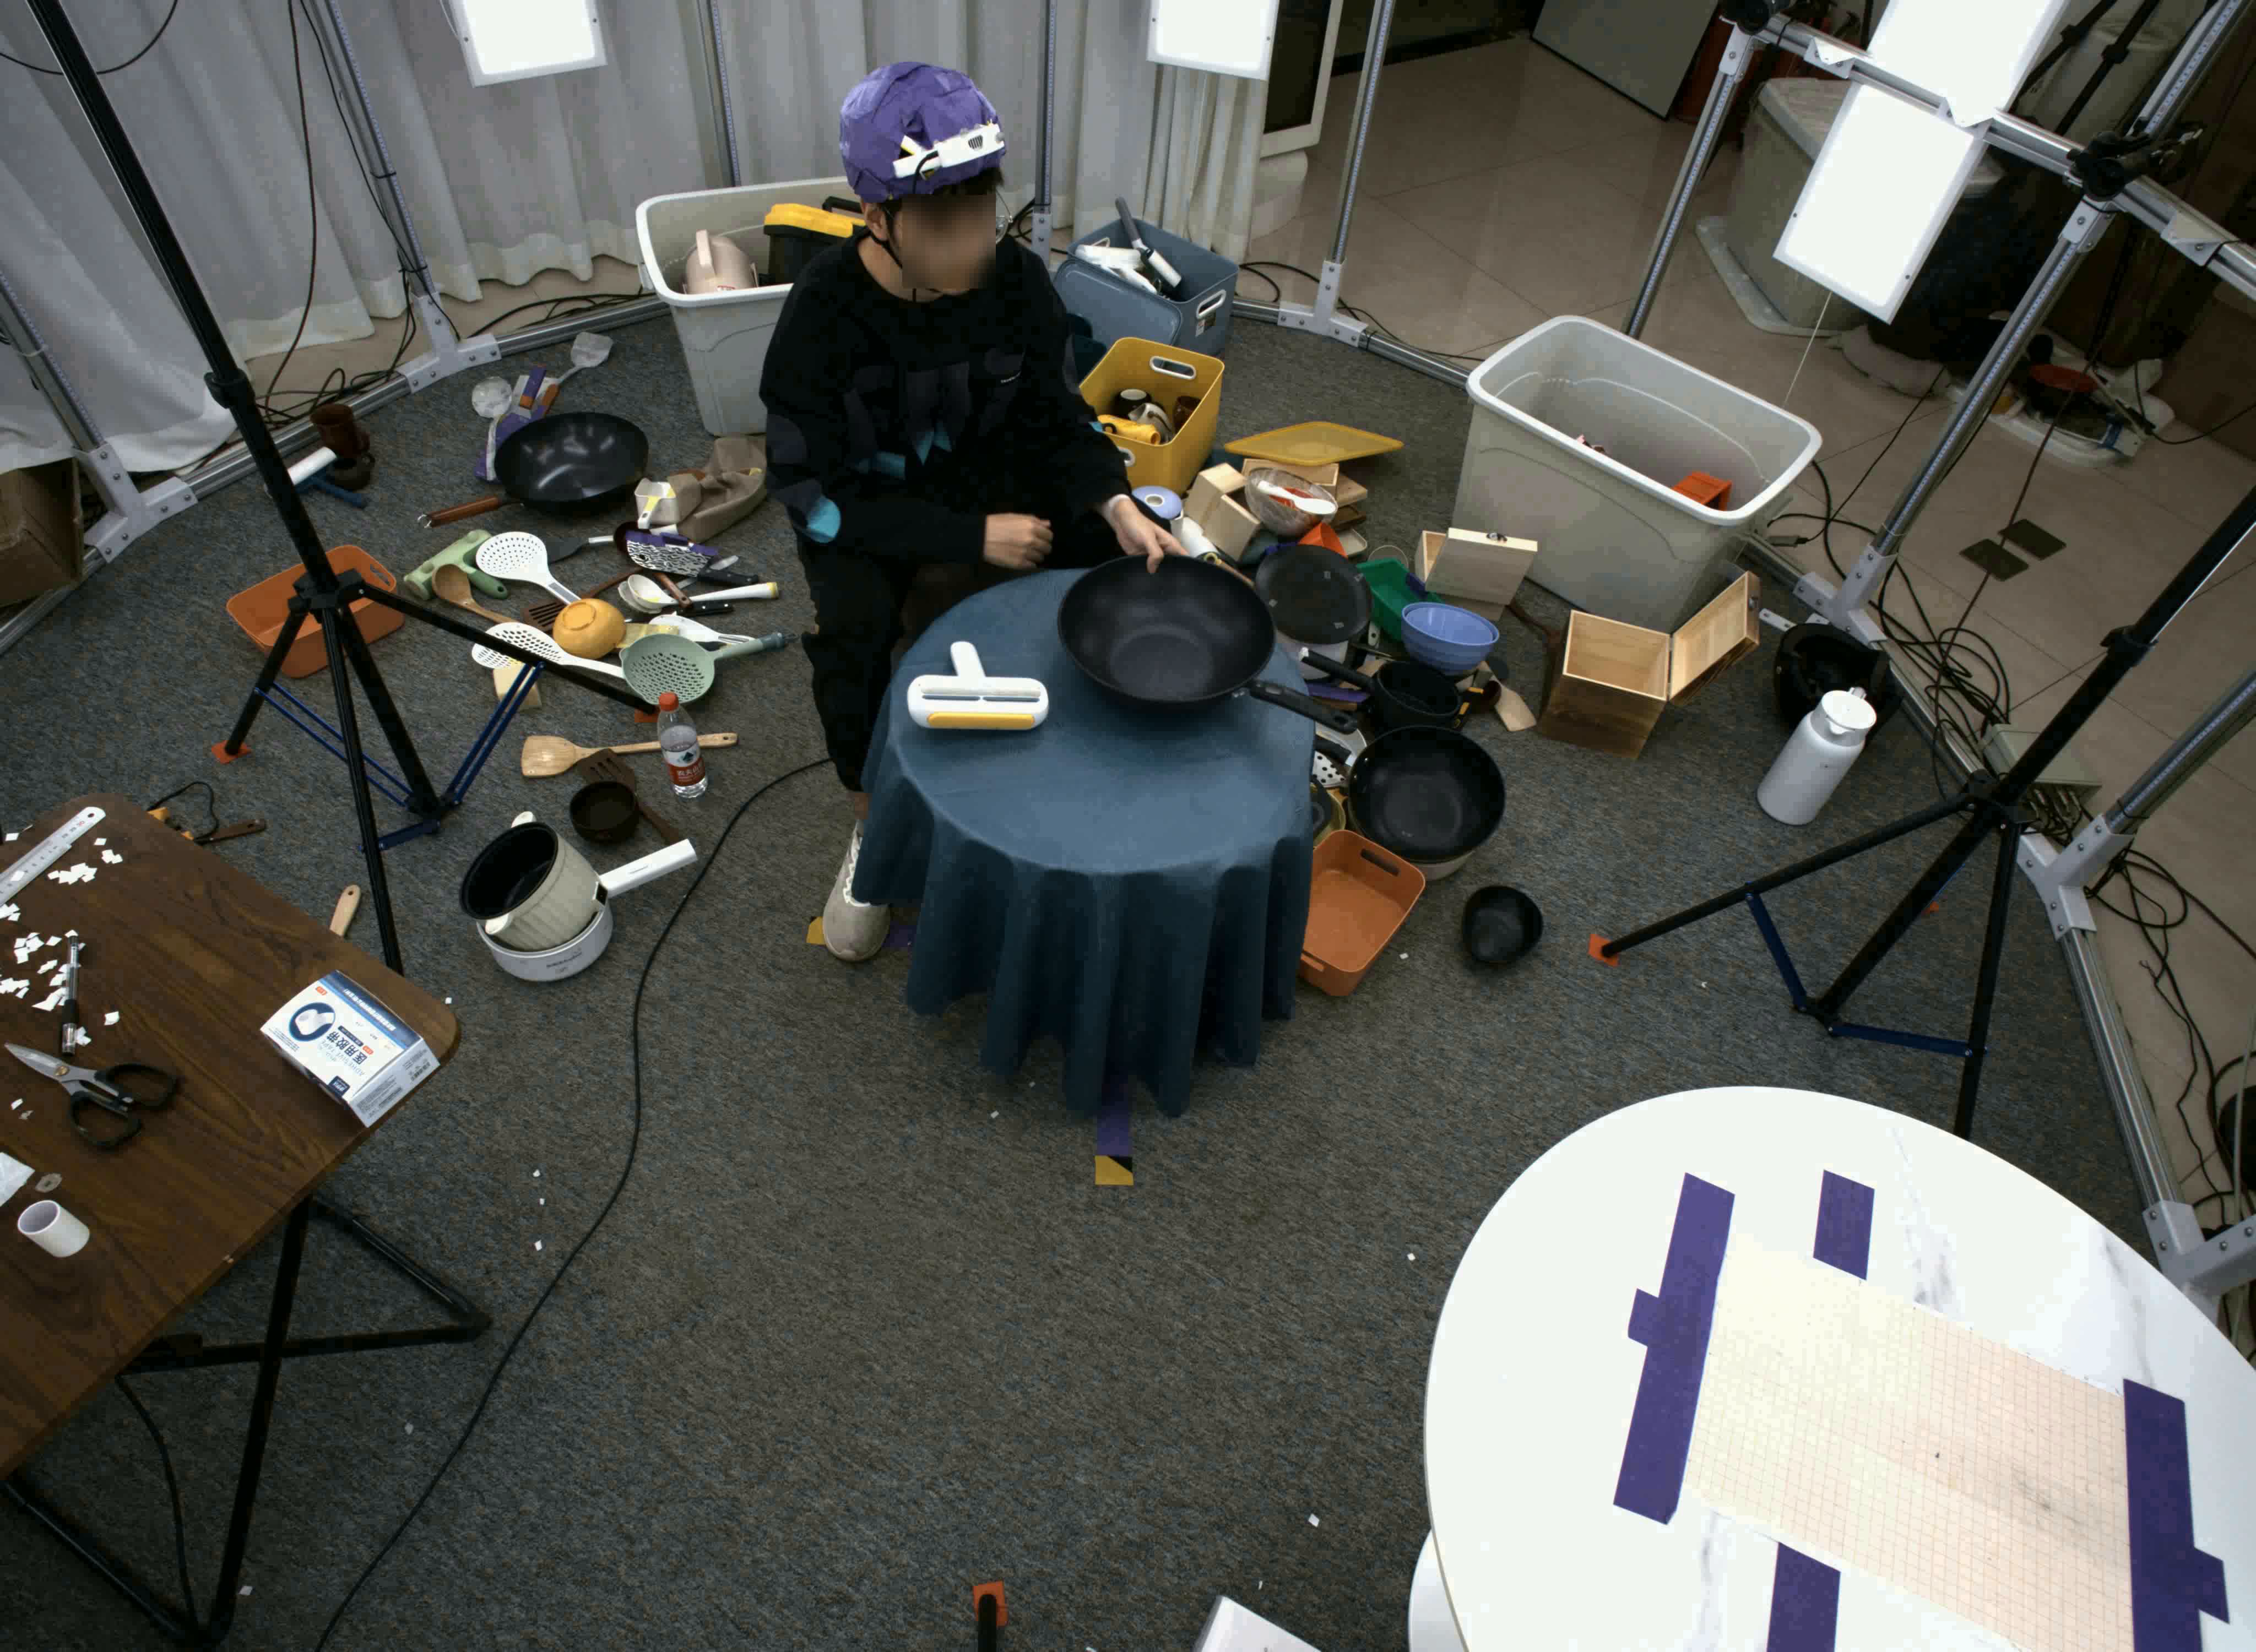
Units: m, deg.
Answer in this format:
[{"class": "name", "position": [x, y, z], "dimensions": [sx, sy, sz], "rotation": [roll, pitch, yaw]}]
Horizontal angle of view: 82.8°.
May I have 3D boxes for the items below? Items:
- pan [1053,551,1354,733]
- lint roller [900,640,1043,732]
[{"class": "pan", "position": [0.111, -0.224, 1.800], "dimensions": [0.483, 0.109, 0.313], "rotation": [35, 57, 24]}, {"class": "lint roller", "position": [-0.220, -0.206, 1.789], "dimensions": [0.192, 0.072, 0.197], "rotation": [0, 47, -11]}]
